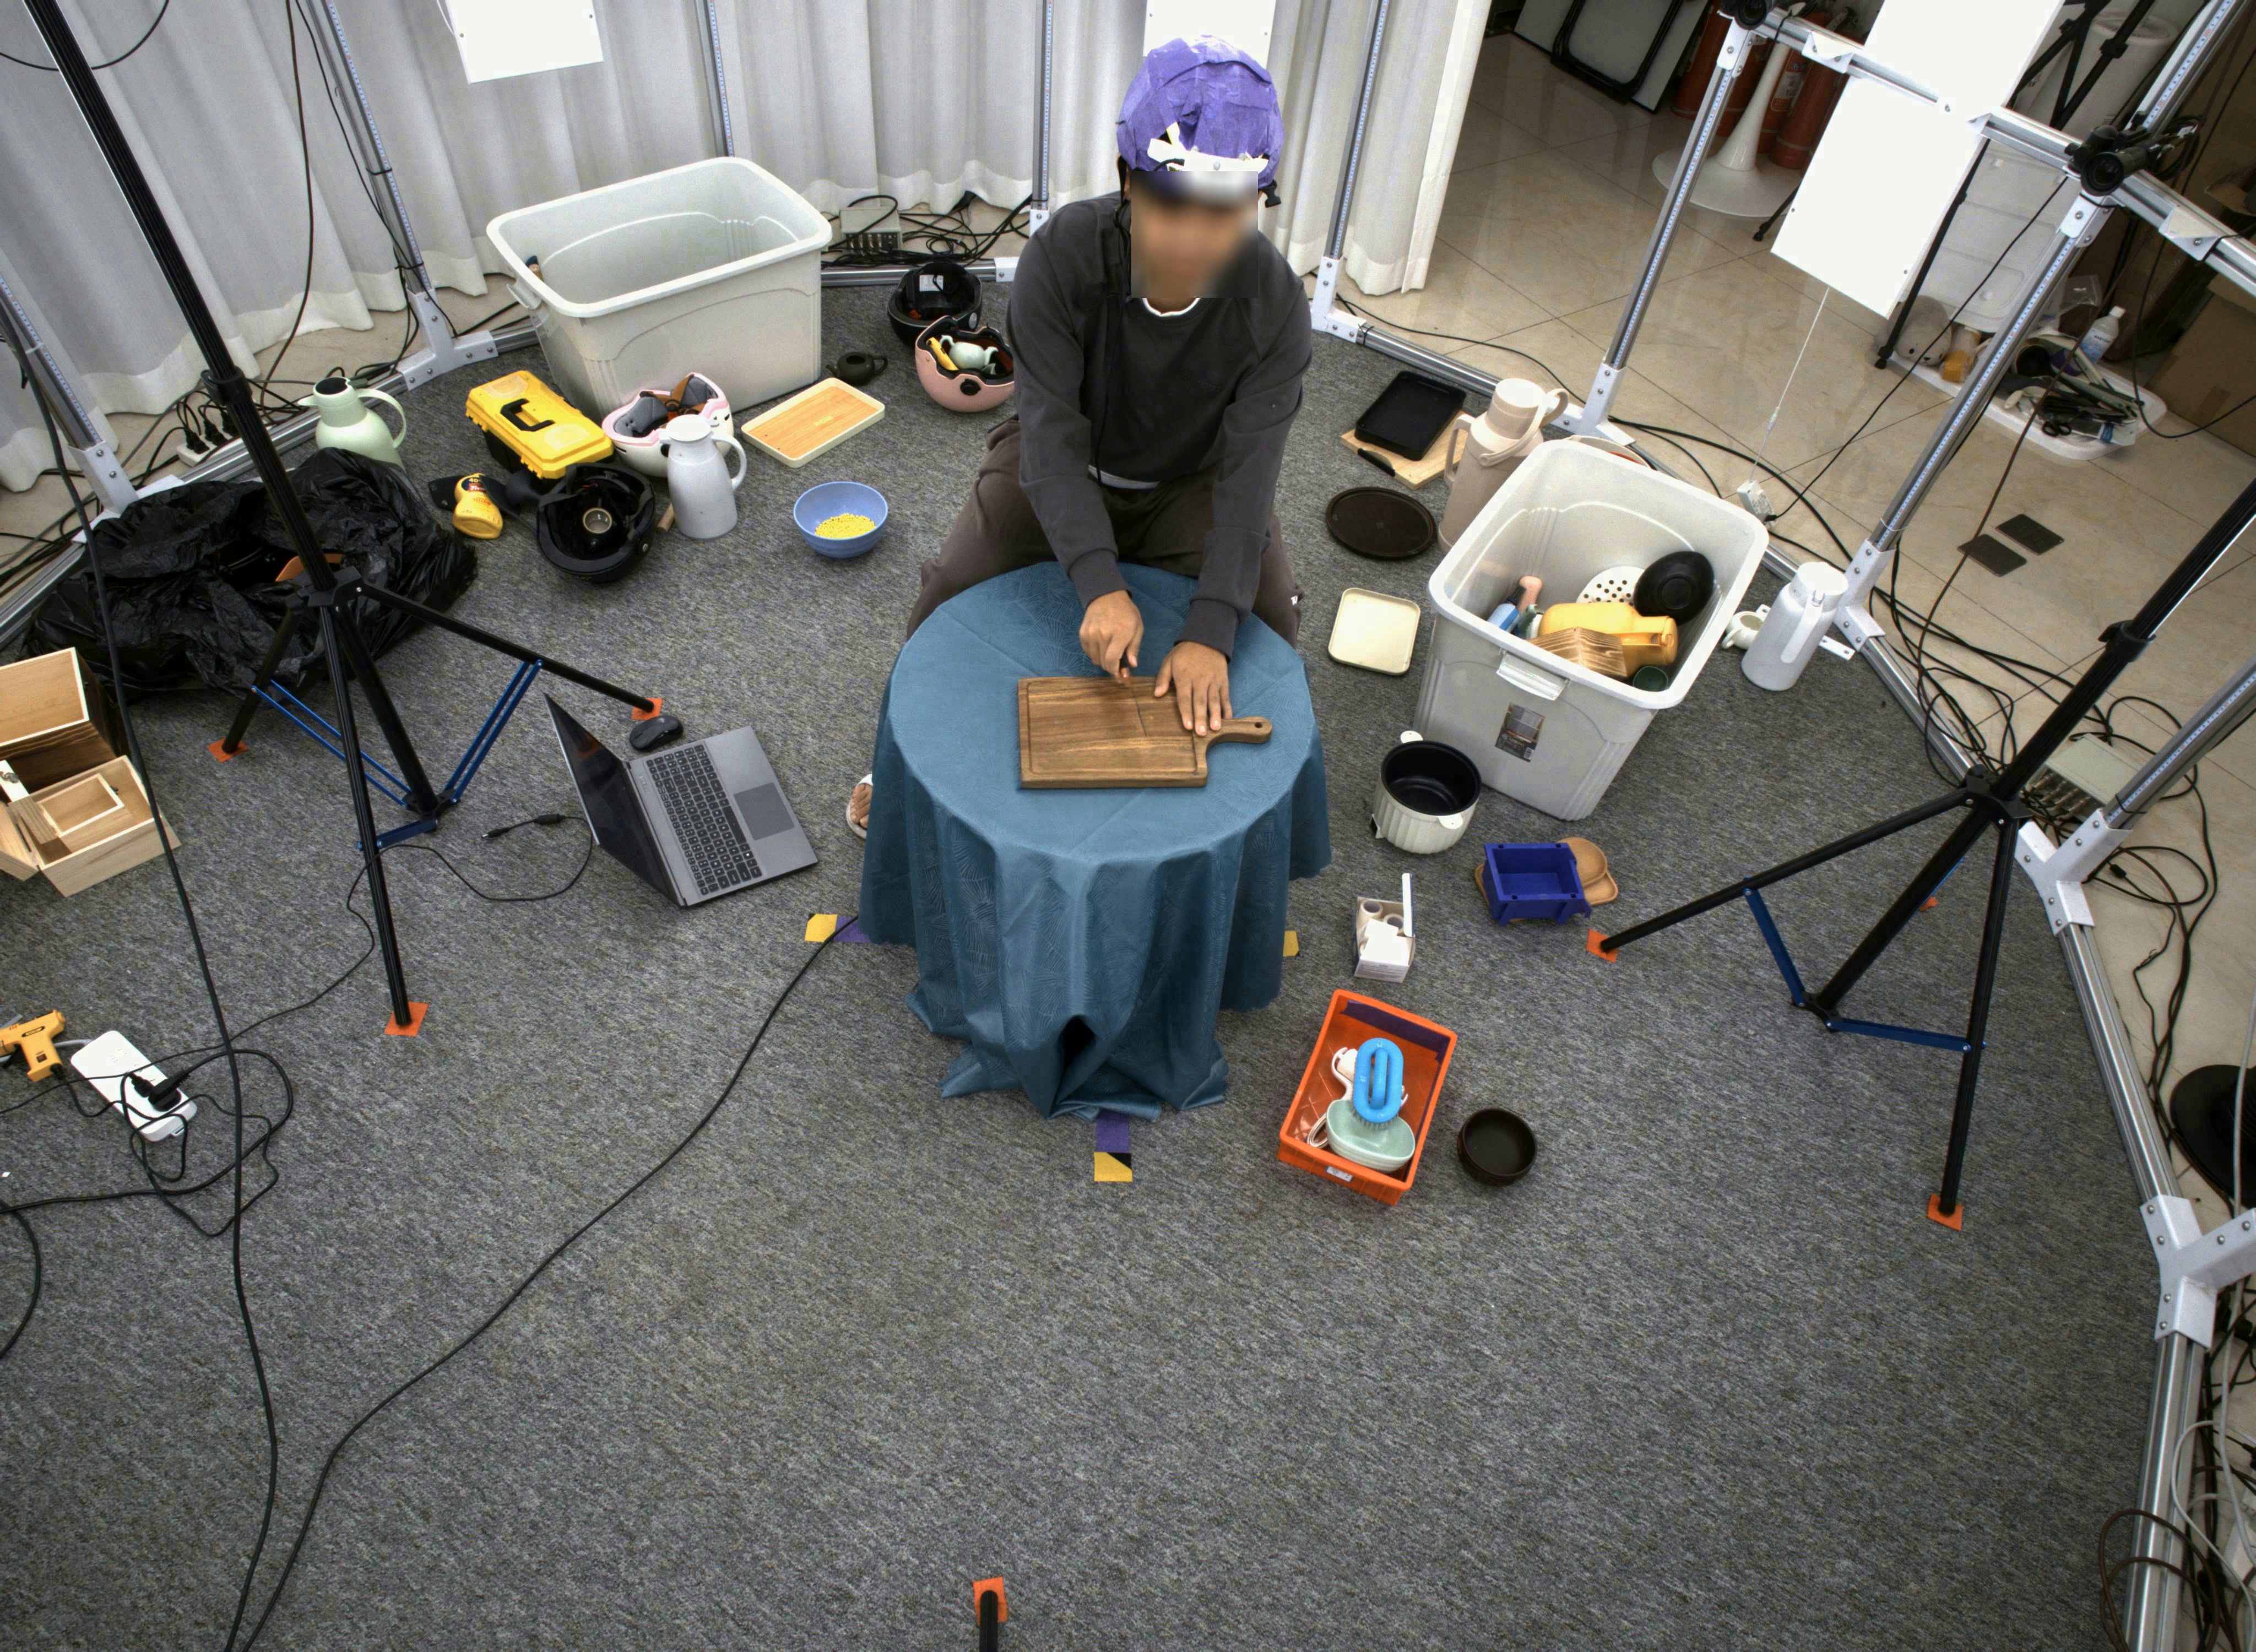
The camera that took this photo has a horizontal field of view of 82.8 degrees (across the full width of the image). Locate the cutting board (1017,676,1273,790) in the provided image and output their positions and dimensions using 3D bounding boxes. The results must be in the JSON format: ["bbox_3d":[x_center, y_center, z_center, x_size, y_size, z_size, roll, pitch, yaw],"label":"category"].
[{"bbox_3d":[0.026,-0.132,1.768,0.351,0.022,0.206,-1,49,-5],"label":"cutting board"}]

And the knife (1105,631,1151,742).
[{"bbox_3d":[0.001,-0.194,1.758,0.017,0.025,0.231,-18,46,-1],"label":"knife"}]
